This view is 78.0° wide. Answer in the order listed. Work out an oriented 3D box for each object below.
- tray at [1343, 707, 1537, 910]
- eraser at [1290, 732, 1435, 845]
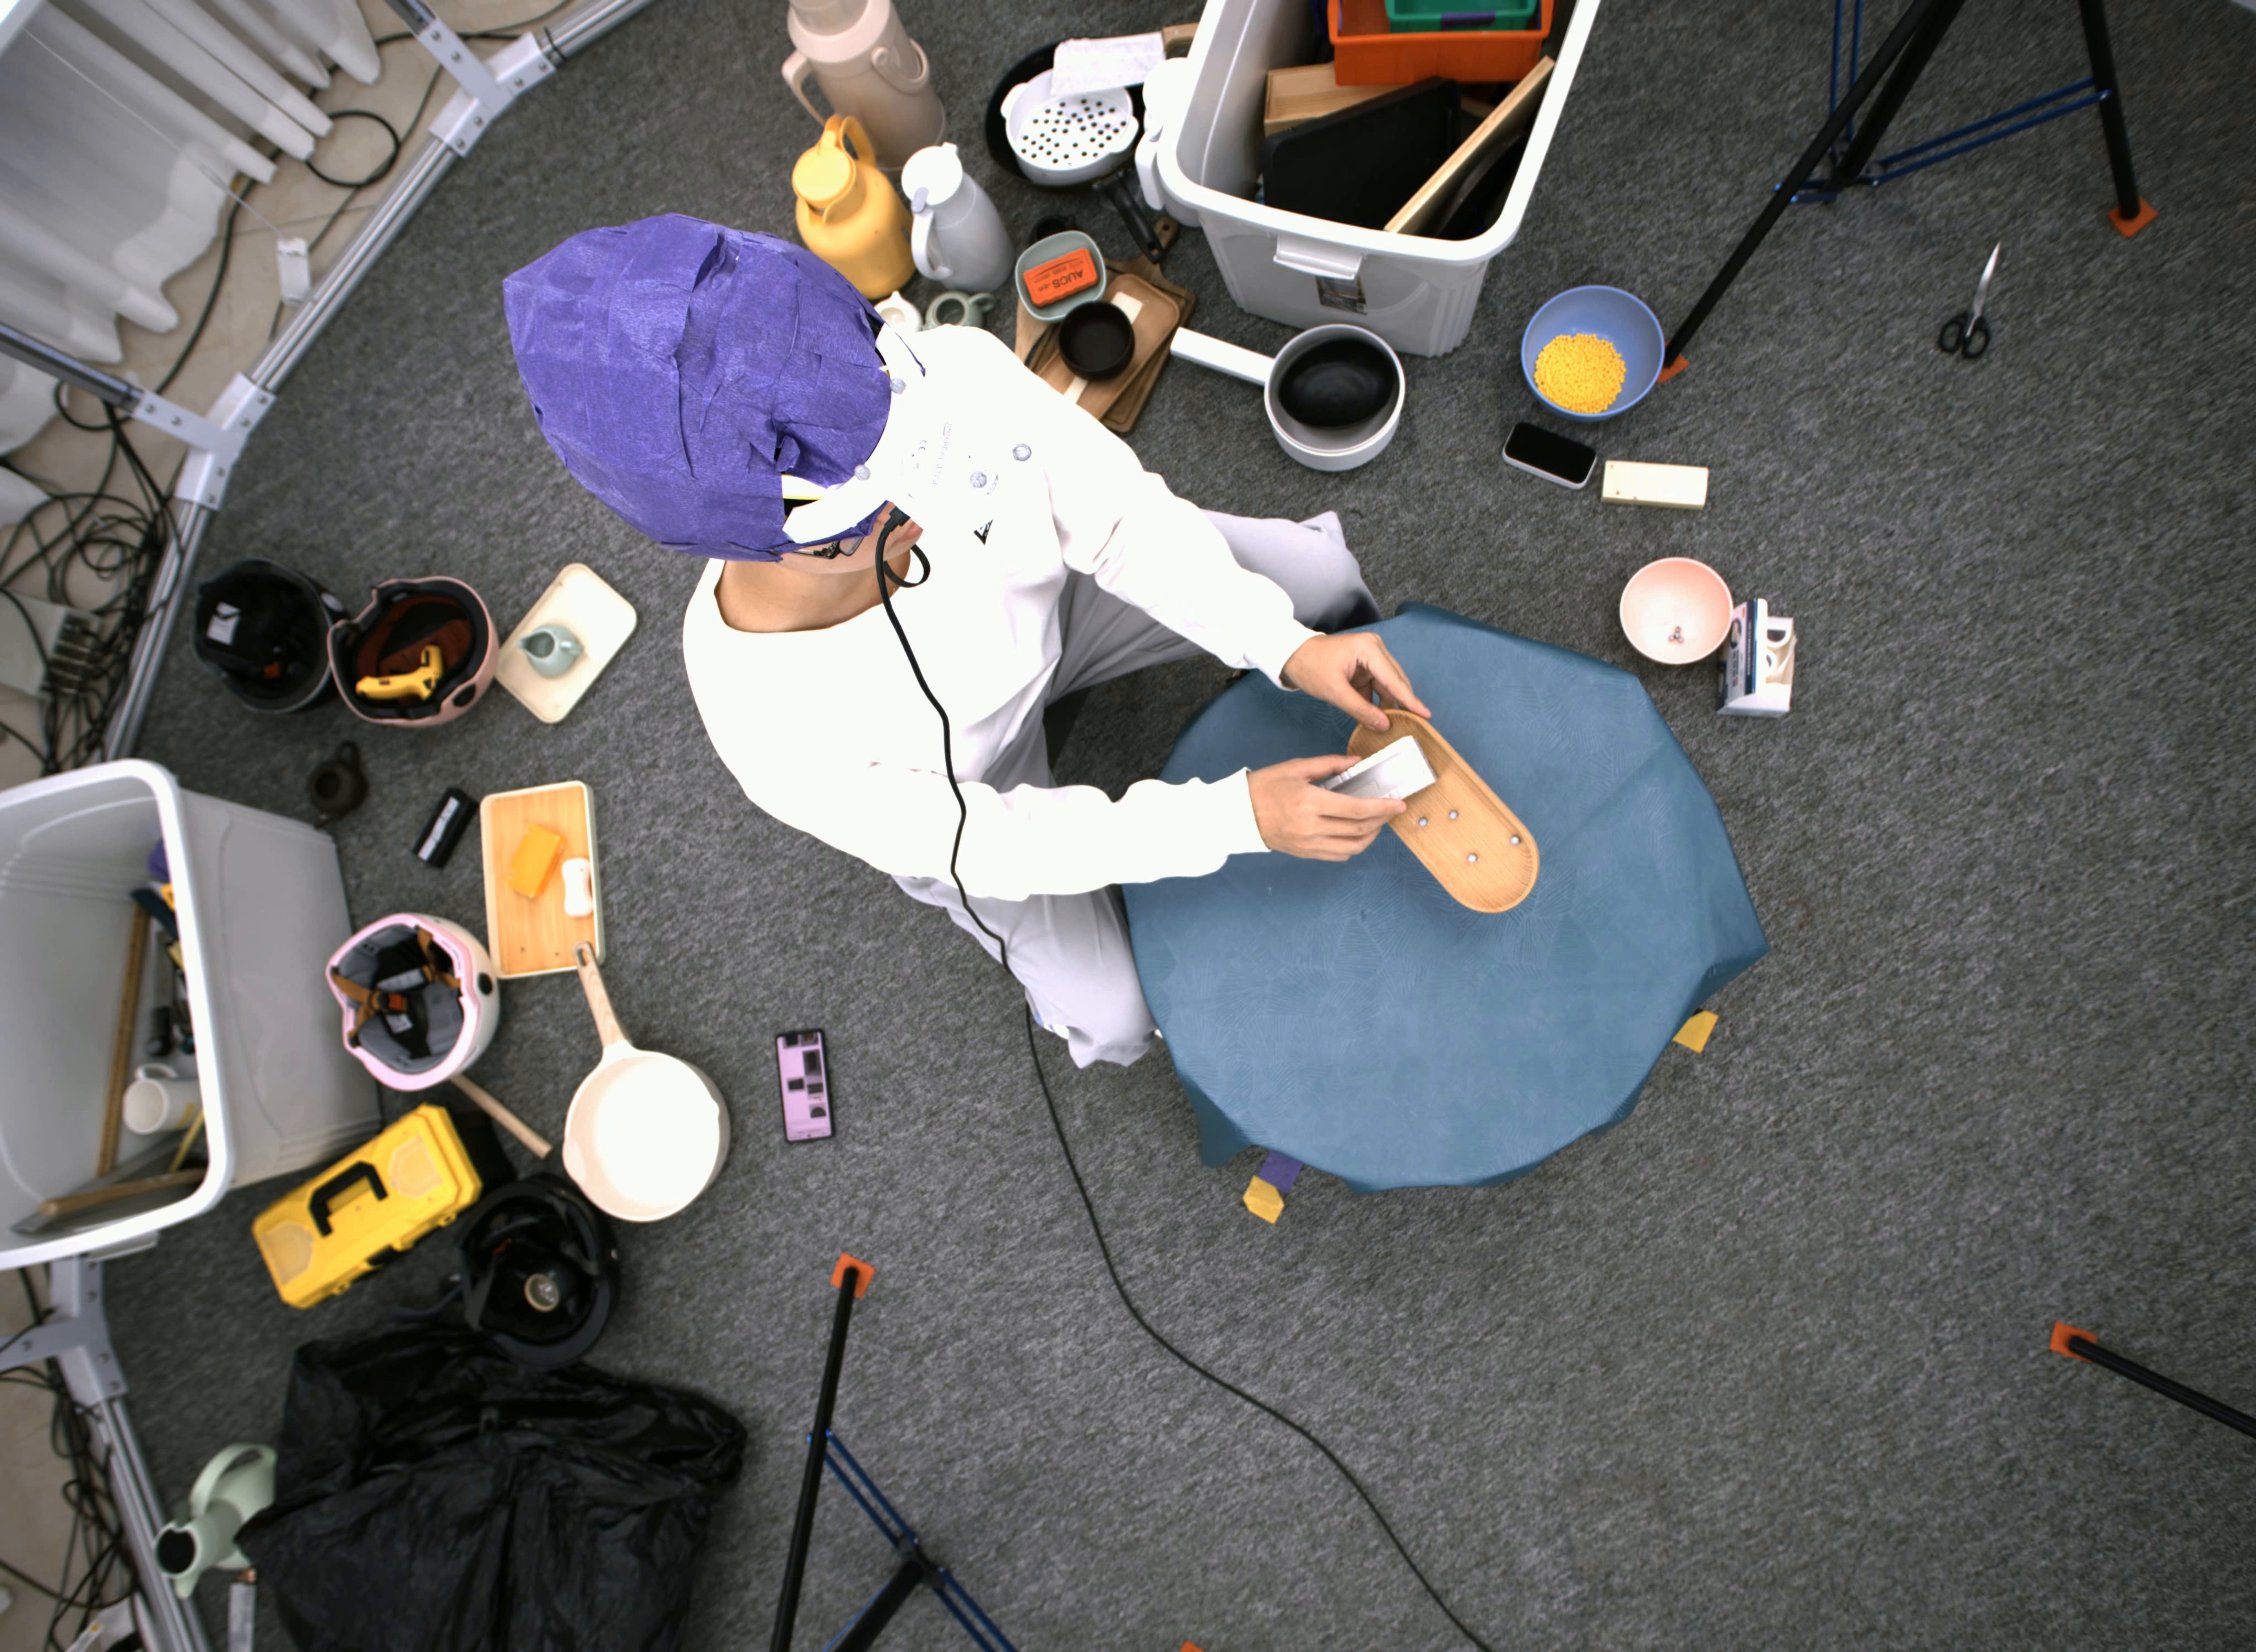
[{"bbox_3d":[0.300,-0.020,1.328,0.229,0.020,0.104,50,124,14],"label":"tray"},{"bbox_3d":[0.228,-0.037,1.336,0.136,0.046,0.049,-34,76,28],"label":"eraser"}]
